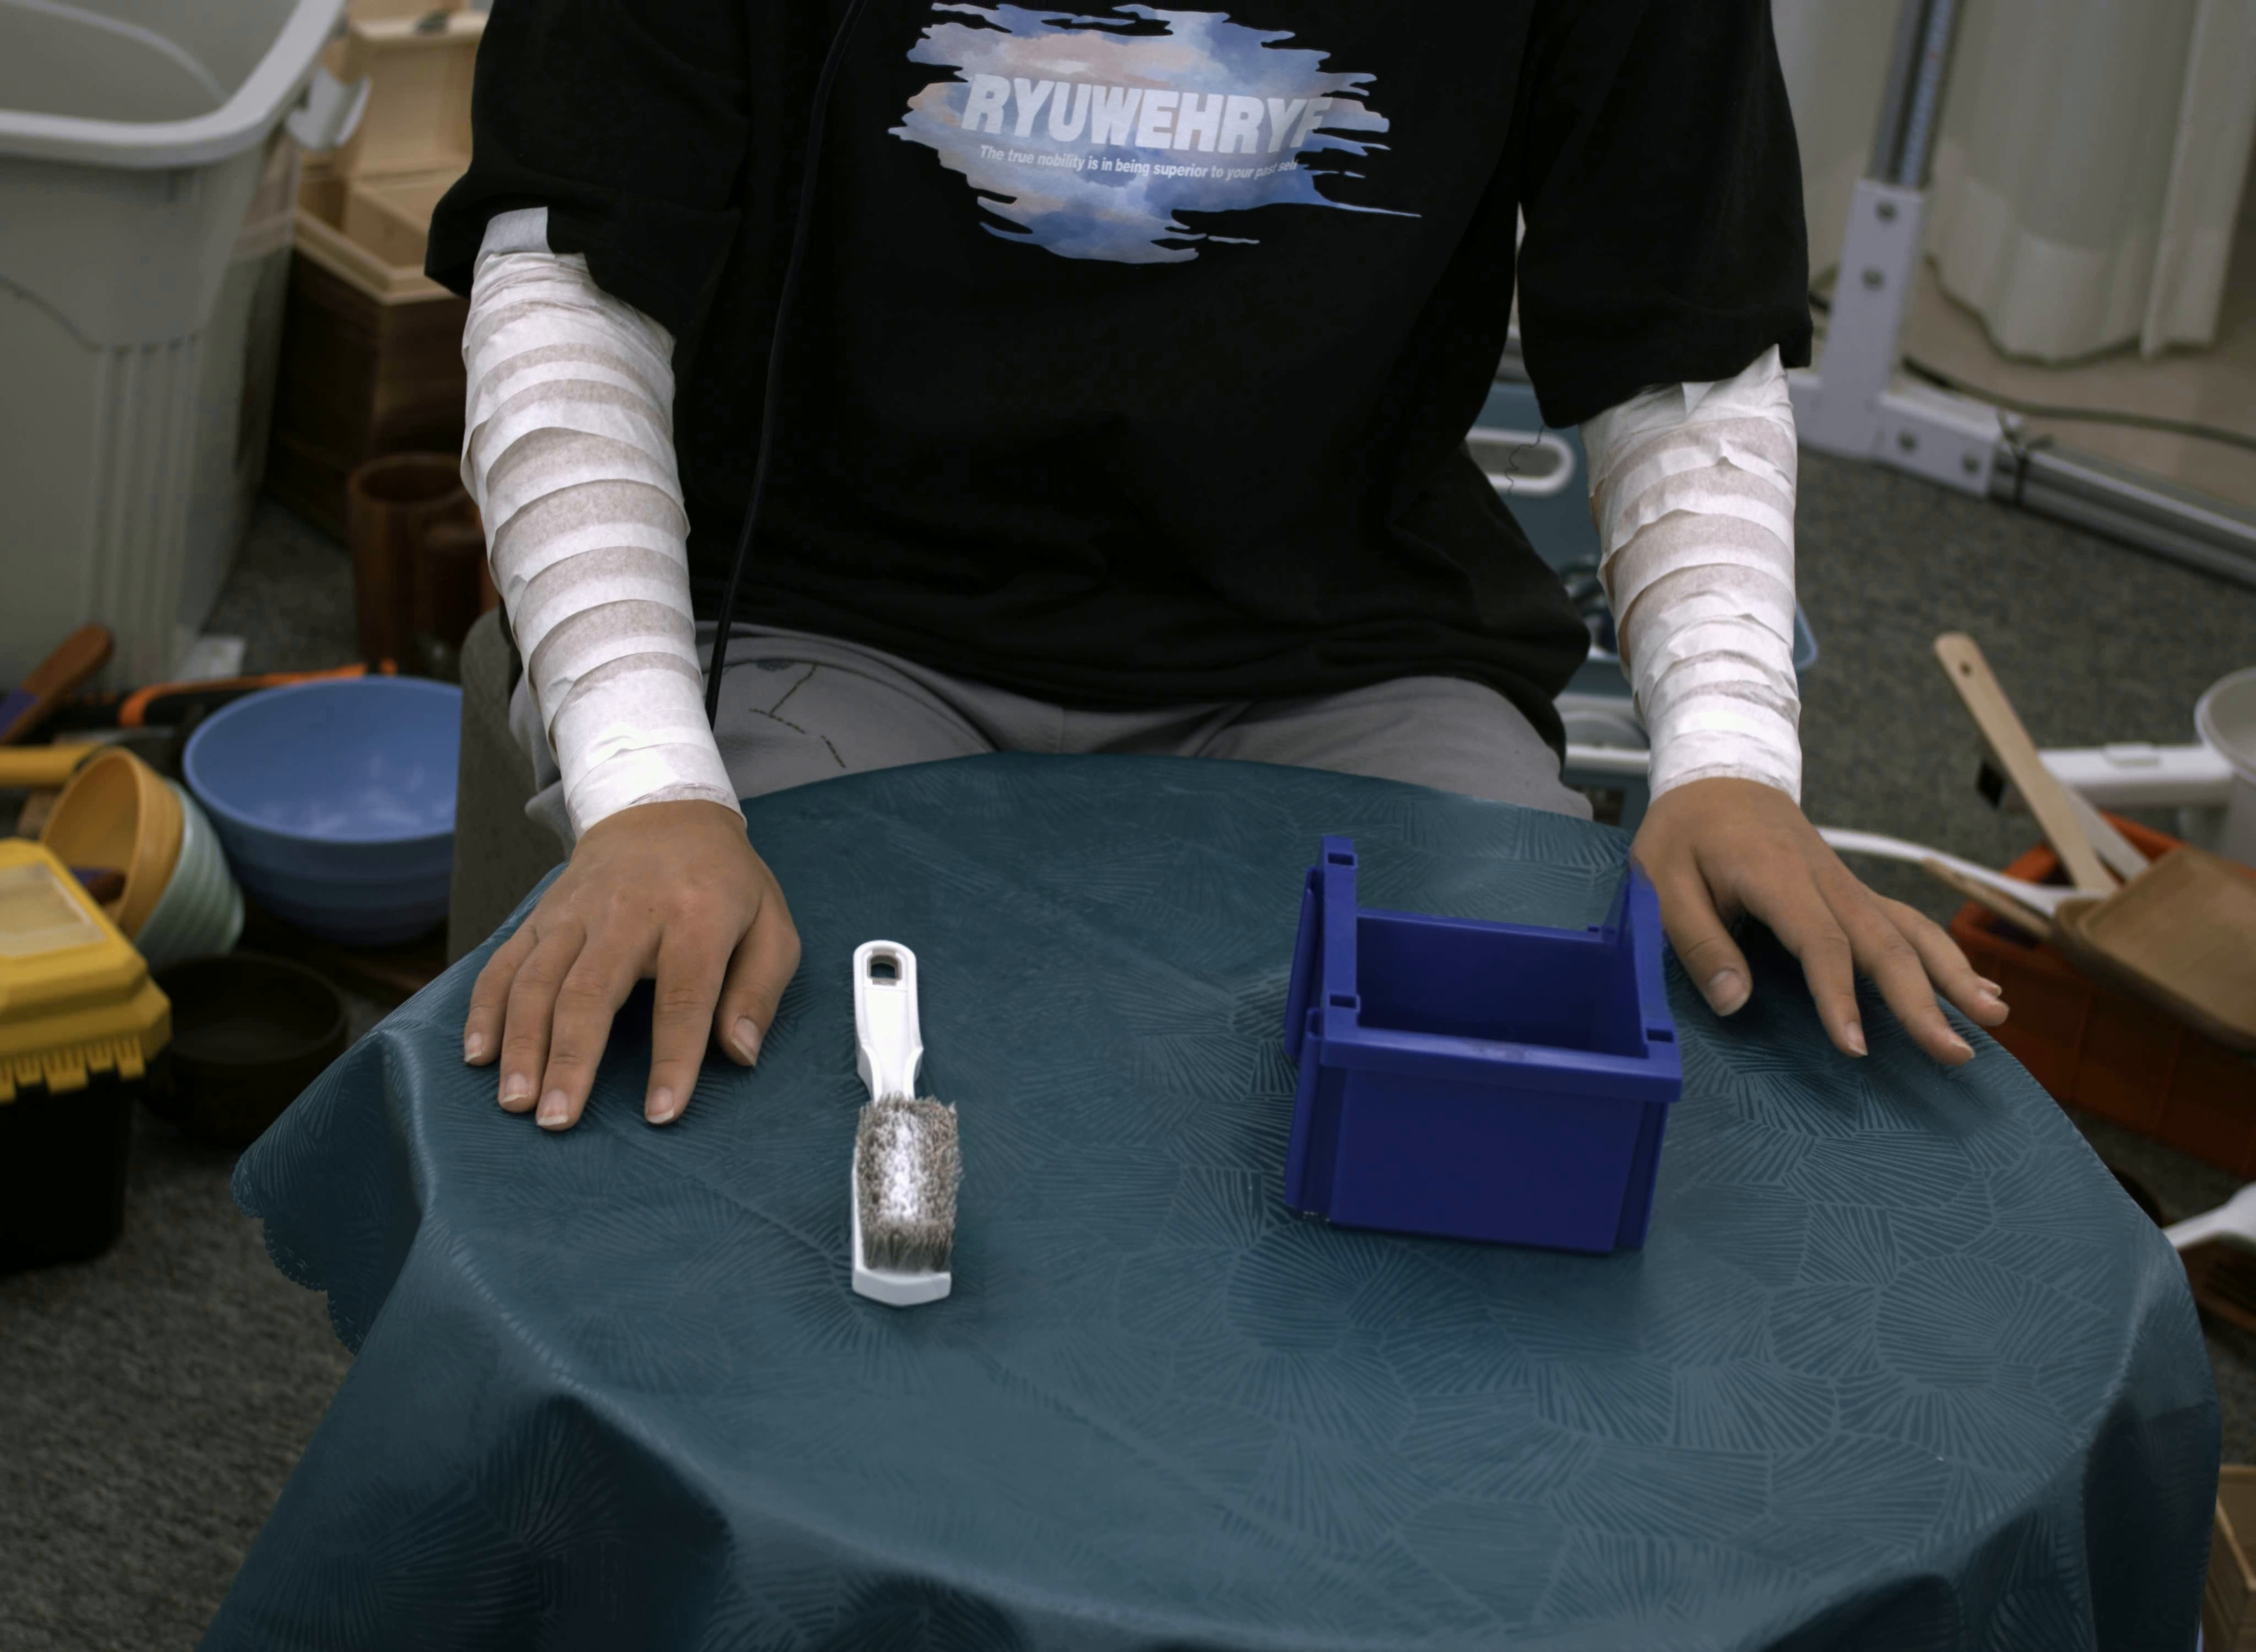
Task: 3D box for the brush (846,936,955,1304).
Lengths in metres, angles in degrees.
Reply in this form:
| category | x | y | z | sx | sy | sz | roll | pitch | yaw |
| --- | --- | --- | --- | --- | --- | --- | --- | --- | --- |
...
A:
| category | x | y | z | sx | sy | sz | roll | pitch | yaw |
| --- | --- | --- | --- | --- | --- | --- | --- | --- | --- |
| brush | -0.077 | 0.082 | 1.813 | 0.034 | 0.050 | 0.245 | 4 | 27 | -4 |

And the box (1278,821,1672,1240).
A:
| category | x | y | z | sx | sy | sz | roll | pitch | yaw |
| --- | --- | --- | --- | --- | --- | --- | --- | --- | --- |
| box | 0.120 | 0.066 | 1.855 | 0.124 | 0.081 | 0.180 | 6 | 28 | 0 |
